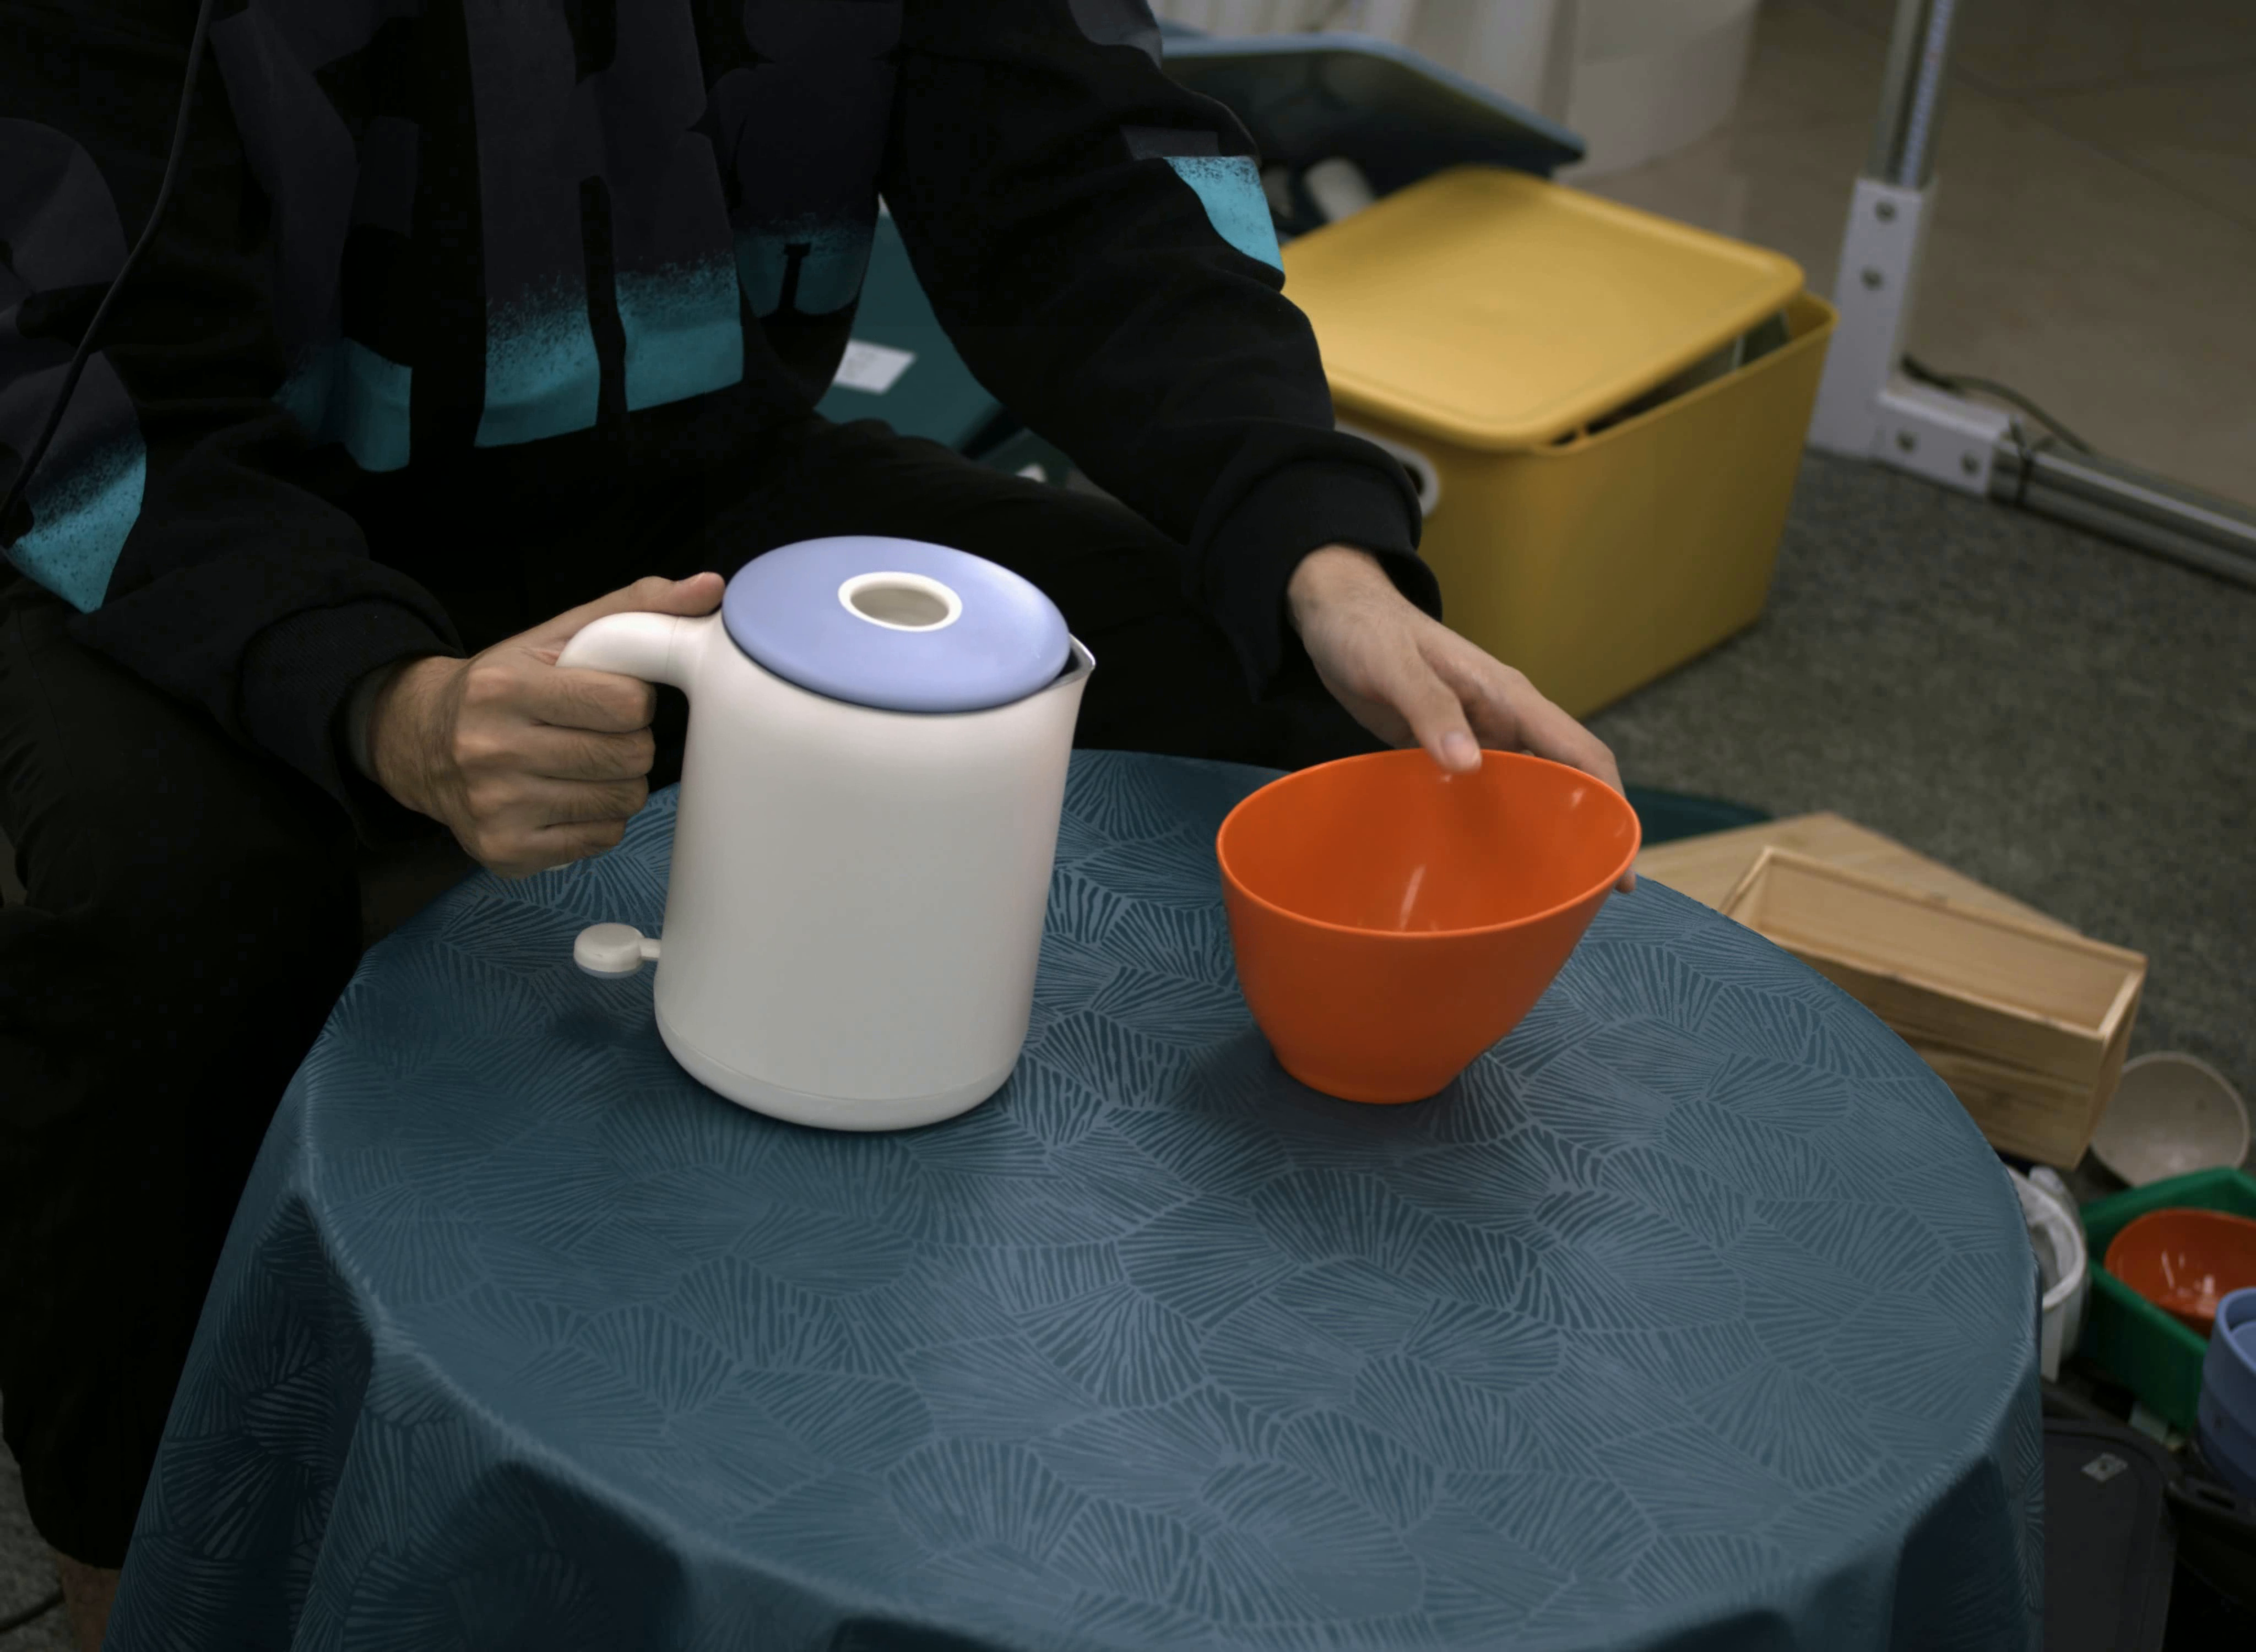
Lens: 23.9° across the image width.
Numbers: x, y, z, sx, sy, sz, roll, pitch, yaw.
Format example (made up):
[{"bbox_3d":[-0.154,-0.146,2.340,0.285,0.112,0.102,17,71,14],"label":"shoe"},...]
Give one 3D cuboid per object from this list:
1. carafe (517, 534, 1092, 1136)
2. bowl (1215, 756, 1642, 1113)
[{"bbox_3d":[-0.114,-0.001,1.824,0.190,0.182,0.133,7,26,2],"label":"carafe"},{"bbox_3d":[0.100,0.042,1.871,0.147,0.104,0.149,5,27,-3],"label":"bowl"}]
